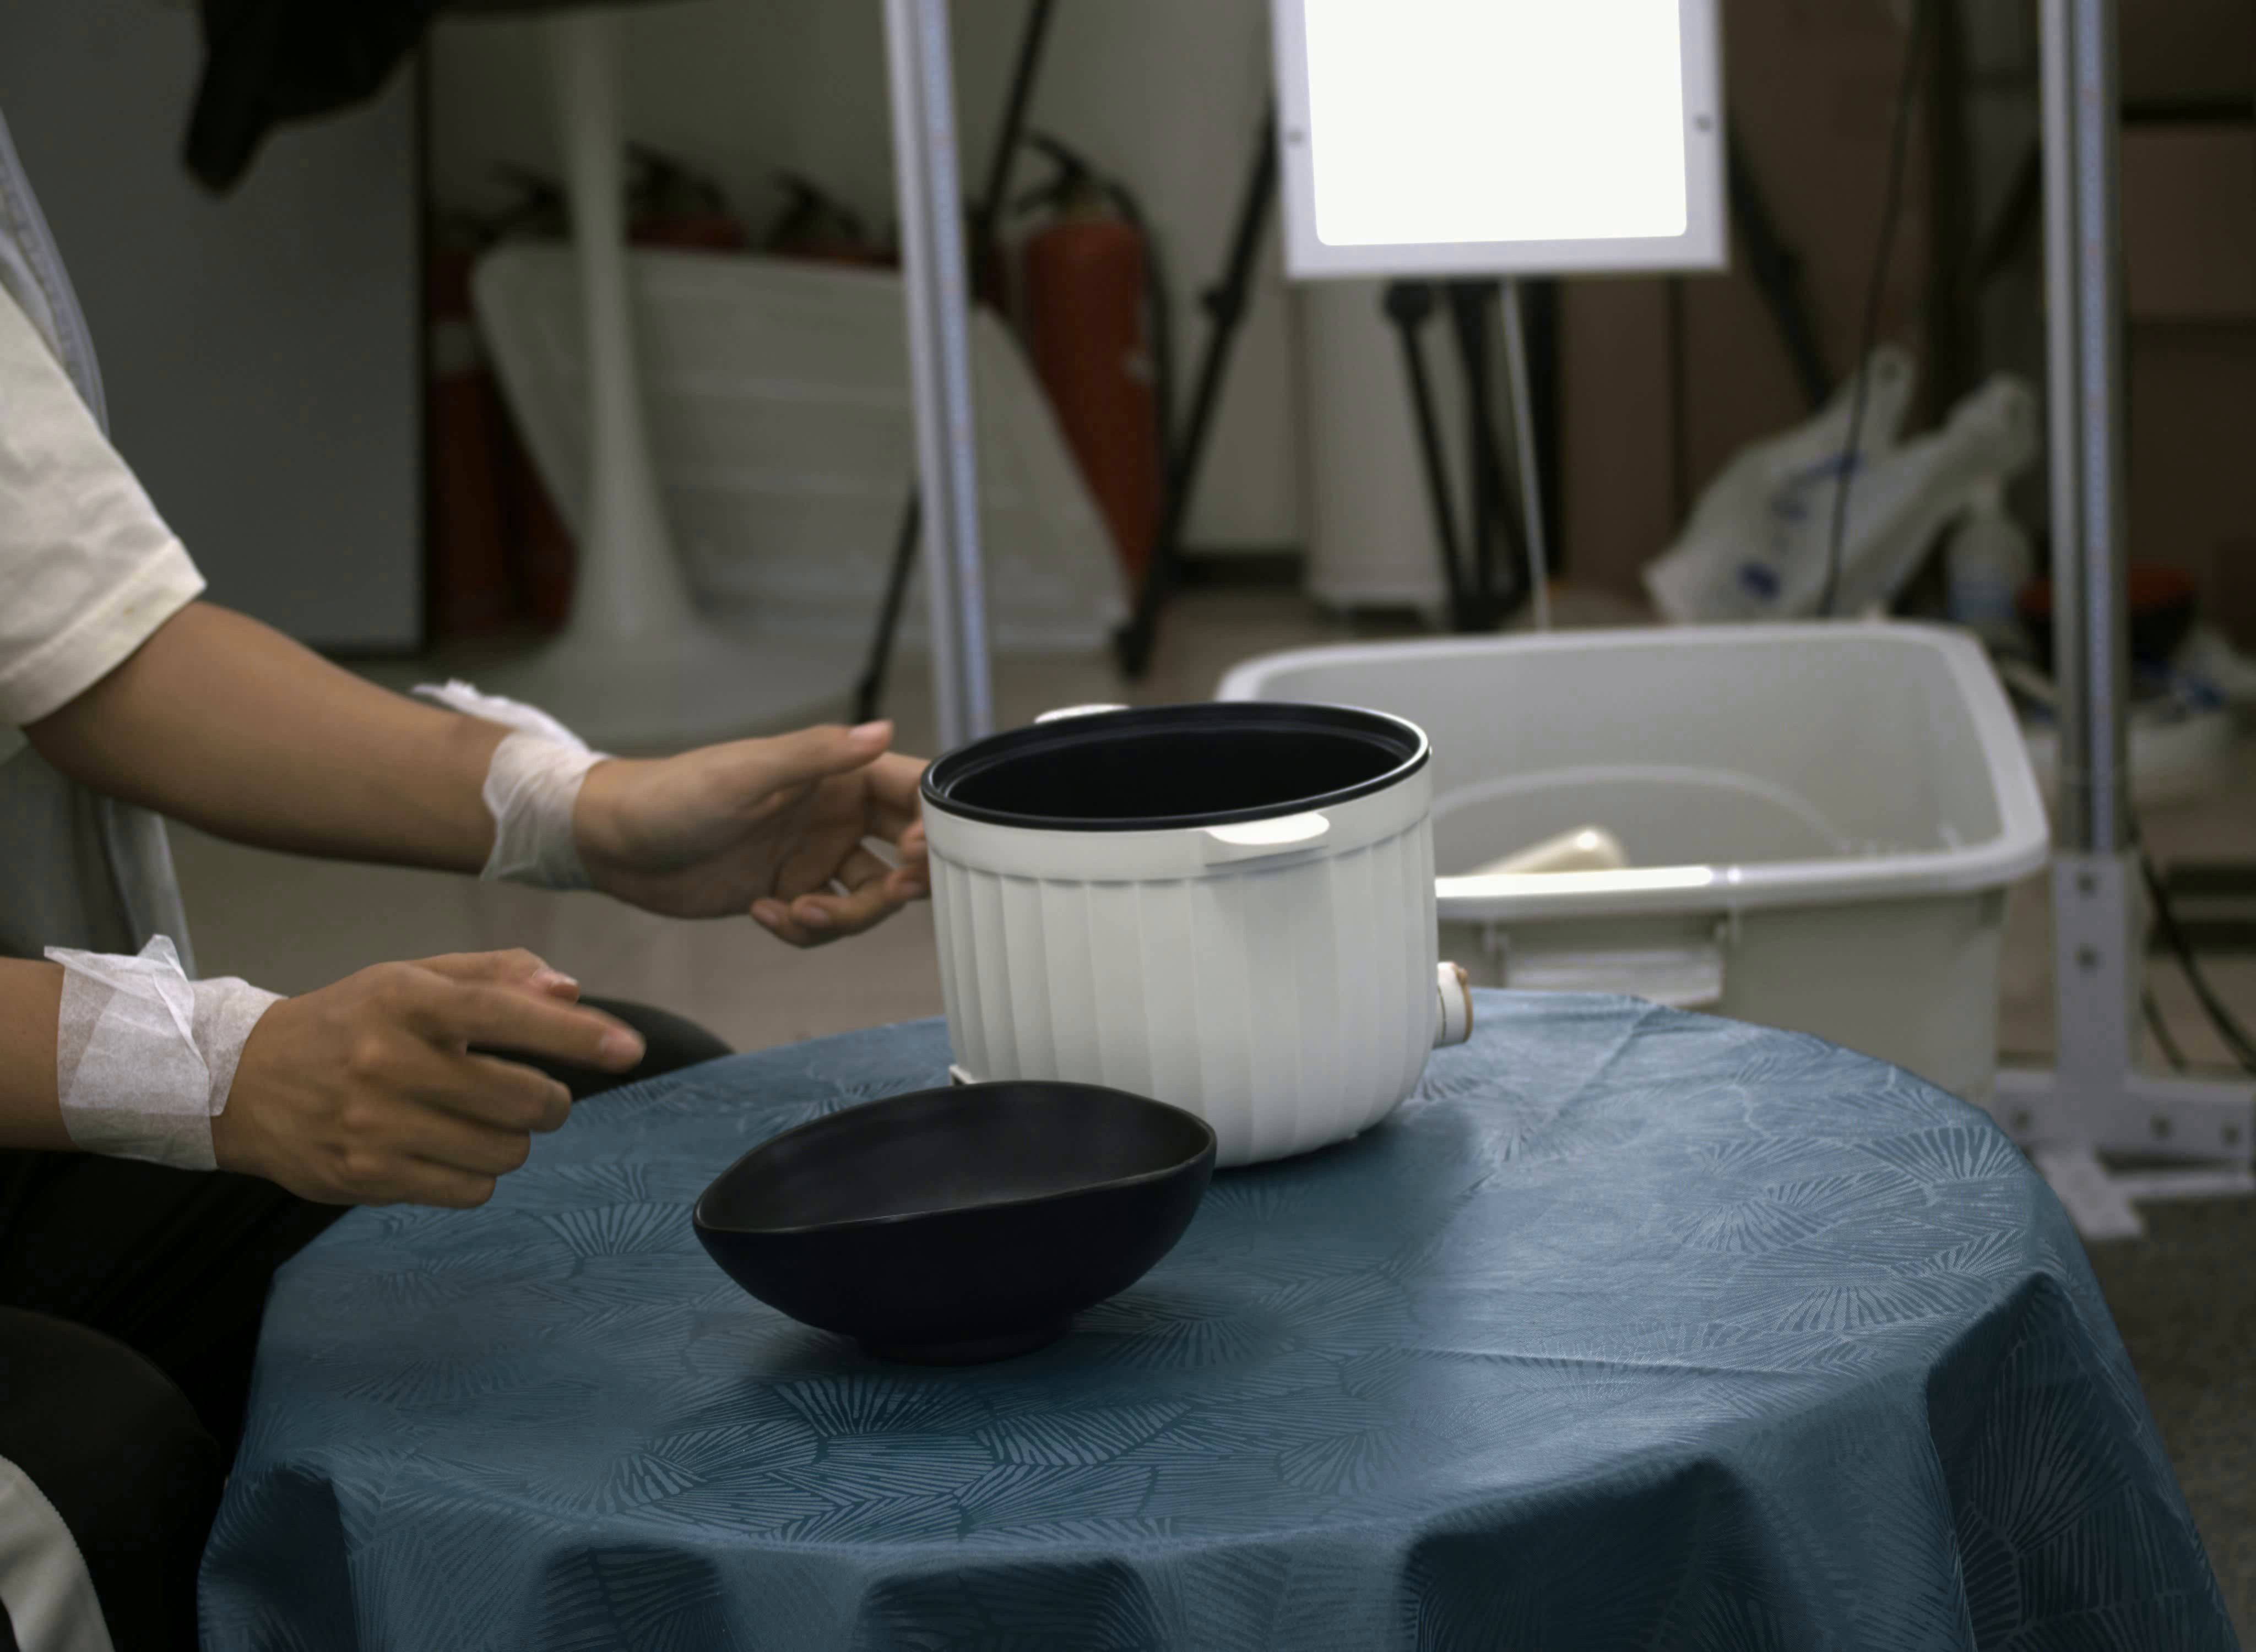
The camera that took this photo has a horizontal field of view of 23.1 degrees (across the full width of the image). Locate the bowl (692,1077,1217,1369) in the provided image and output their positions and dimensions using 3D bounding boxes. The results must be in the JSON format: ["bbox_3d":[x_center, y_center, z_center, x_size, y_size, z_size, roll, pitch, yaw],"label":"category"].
[{"bbox_3d":[-0.053,0.132,1.758,0.169,0.067,0.138,-8,13,-8],"label":"bowl"}]

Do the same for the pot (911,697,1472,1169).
[{"bbox_3d":[0.025,0.039,1.954,0.188,0.143,0.243,-12,16,-15],"label":"pot"}]
